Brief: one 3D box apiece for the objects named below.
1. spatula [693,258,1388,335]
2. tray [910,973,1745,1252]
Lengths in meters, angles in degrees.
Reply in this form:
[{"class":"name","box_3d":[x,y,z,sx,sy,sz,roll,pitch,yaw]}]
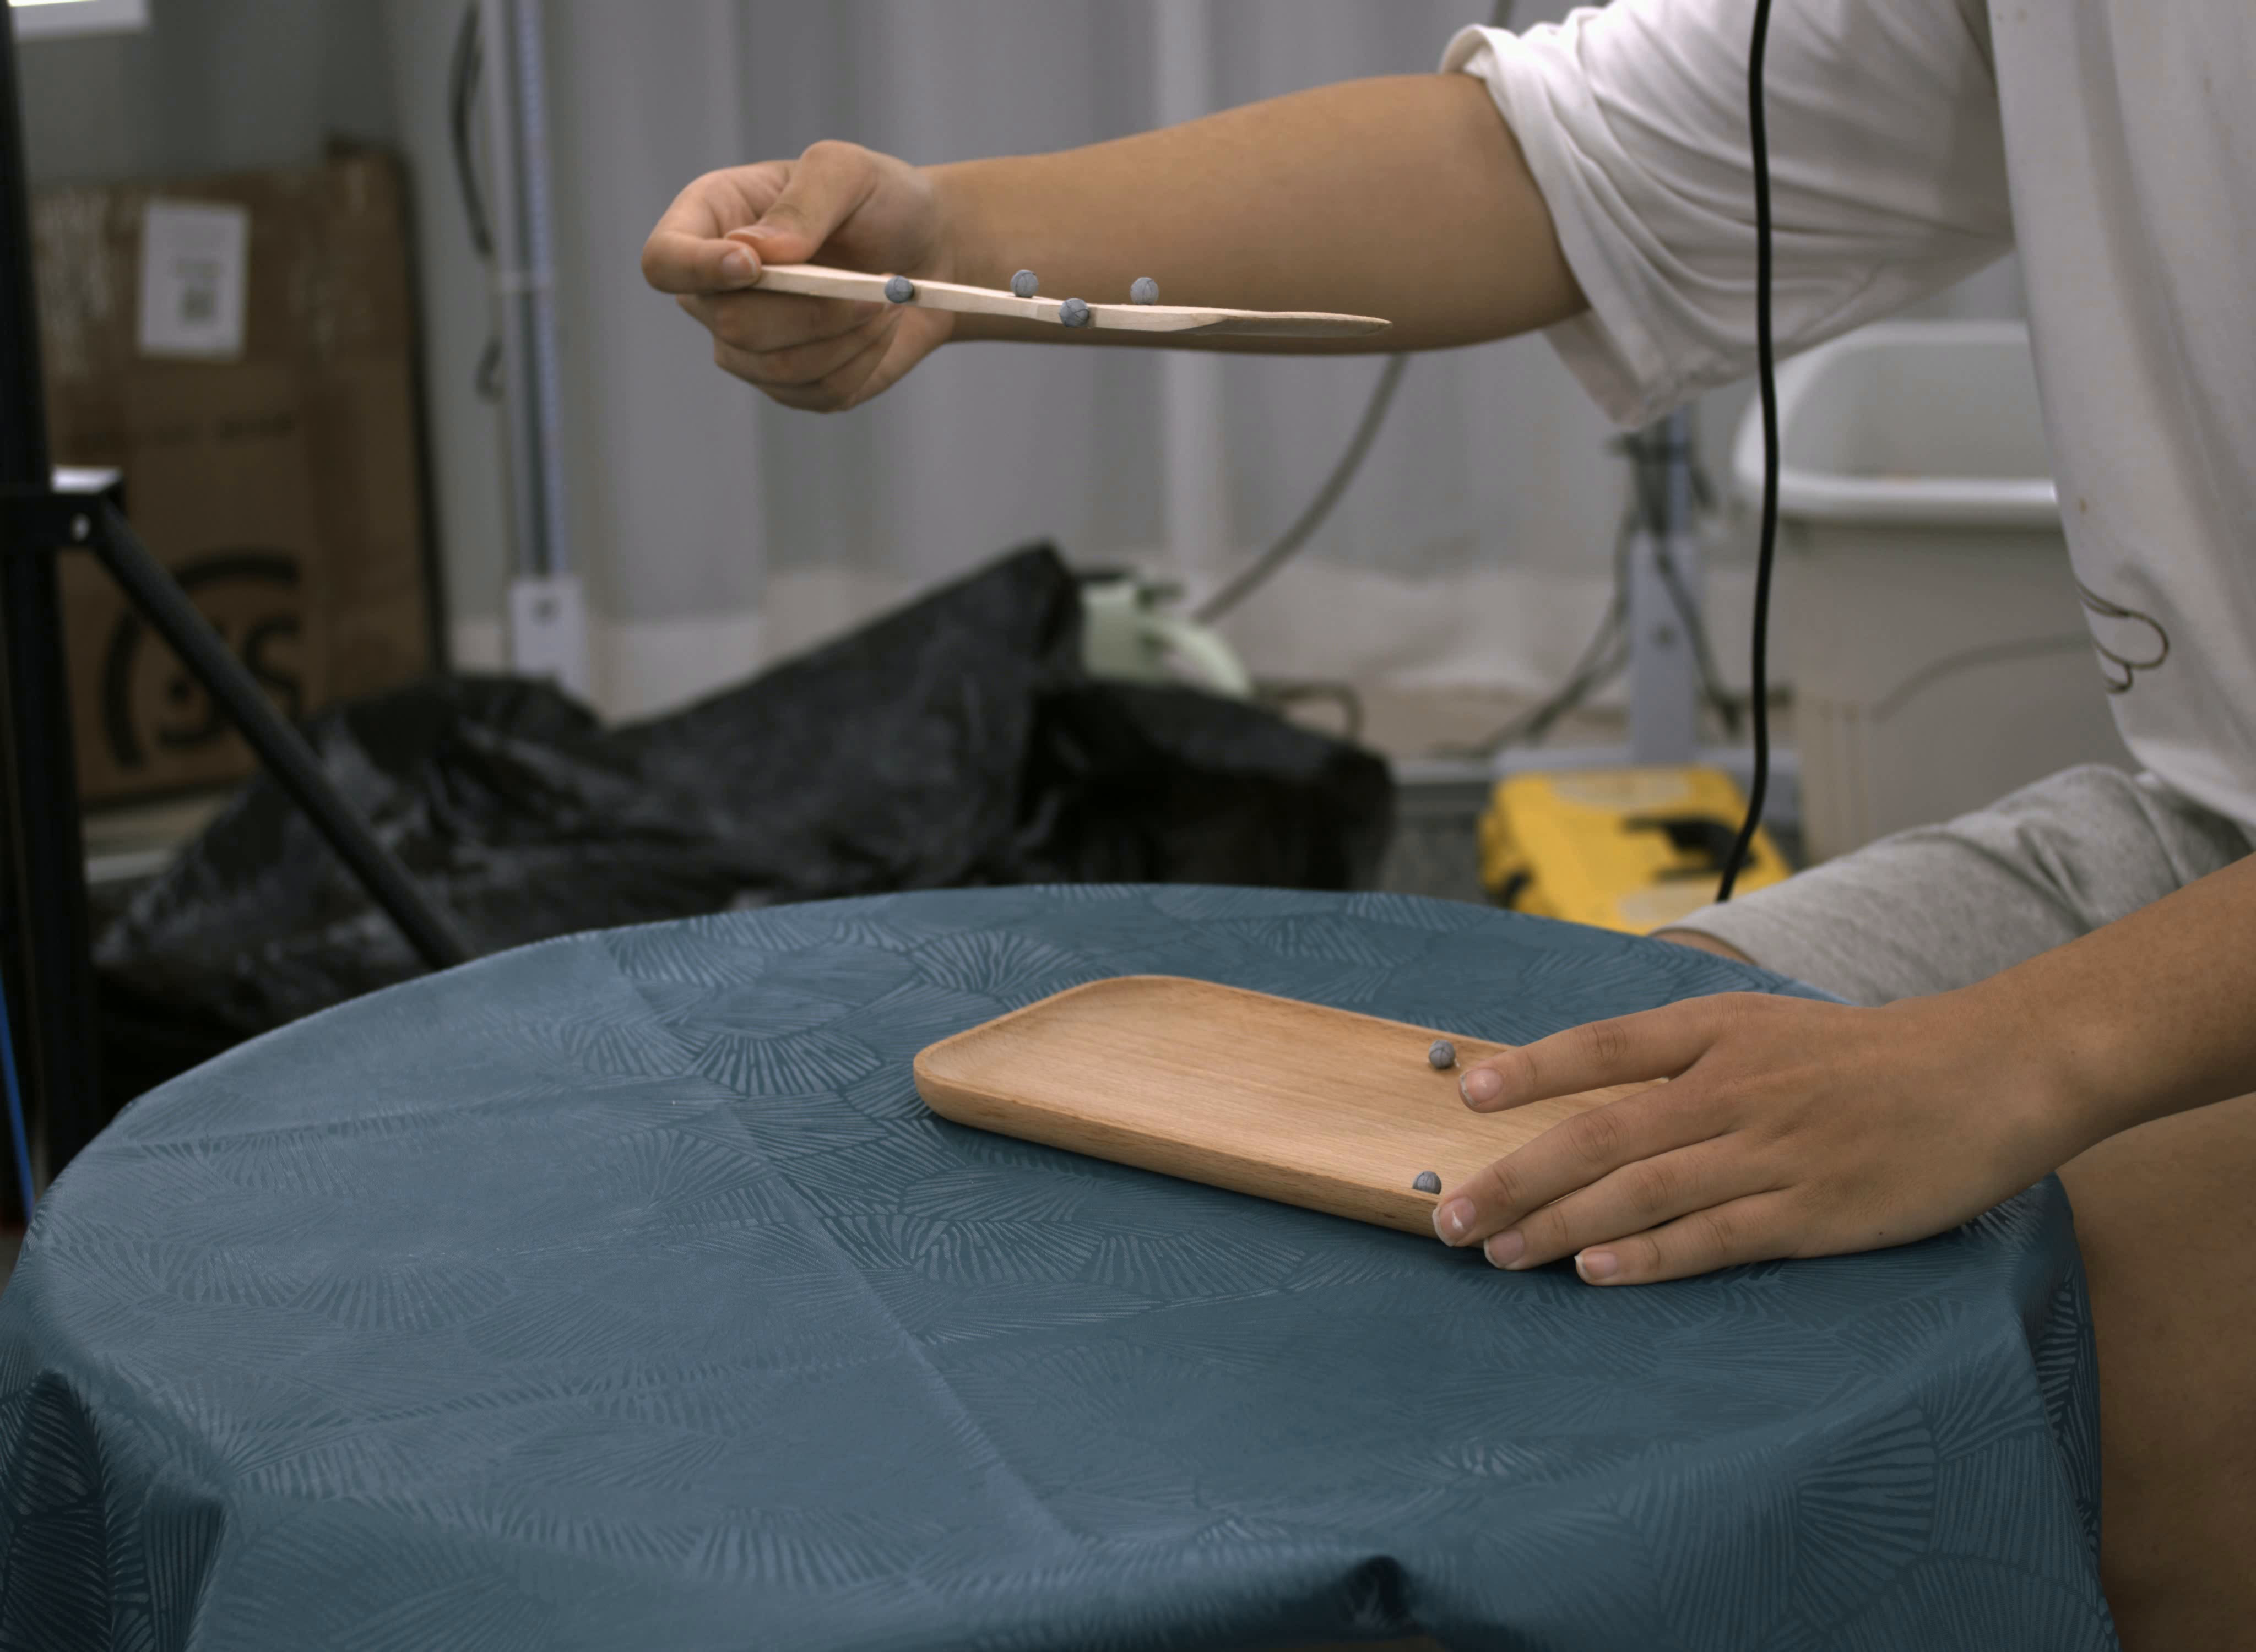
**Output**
[{"class":"spatula","box_3d":[-0.042,-0.161,1.630,0.070,0.011,0.300,-3,10,-39]},{"class":"tray","box_3d":[0.058,0.085,1.605,0.256,0.023,0.127,11,18,40]}]
